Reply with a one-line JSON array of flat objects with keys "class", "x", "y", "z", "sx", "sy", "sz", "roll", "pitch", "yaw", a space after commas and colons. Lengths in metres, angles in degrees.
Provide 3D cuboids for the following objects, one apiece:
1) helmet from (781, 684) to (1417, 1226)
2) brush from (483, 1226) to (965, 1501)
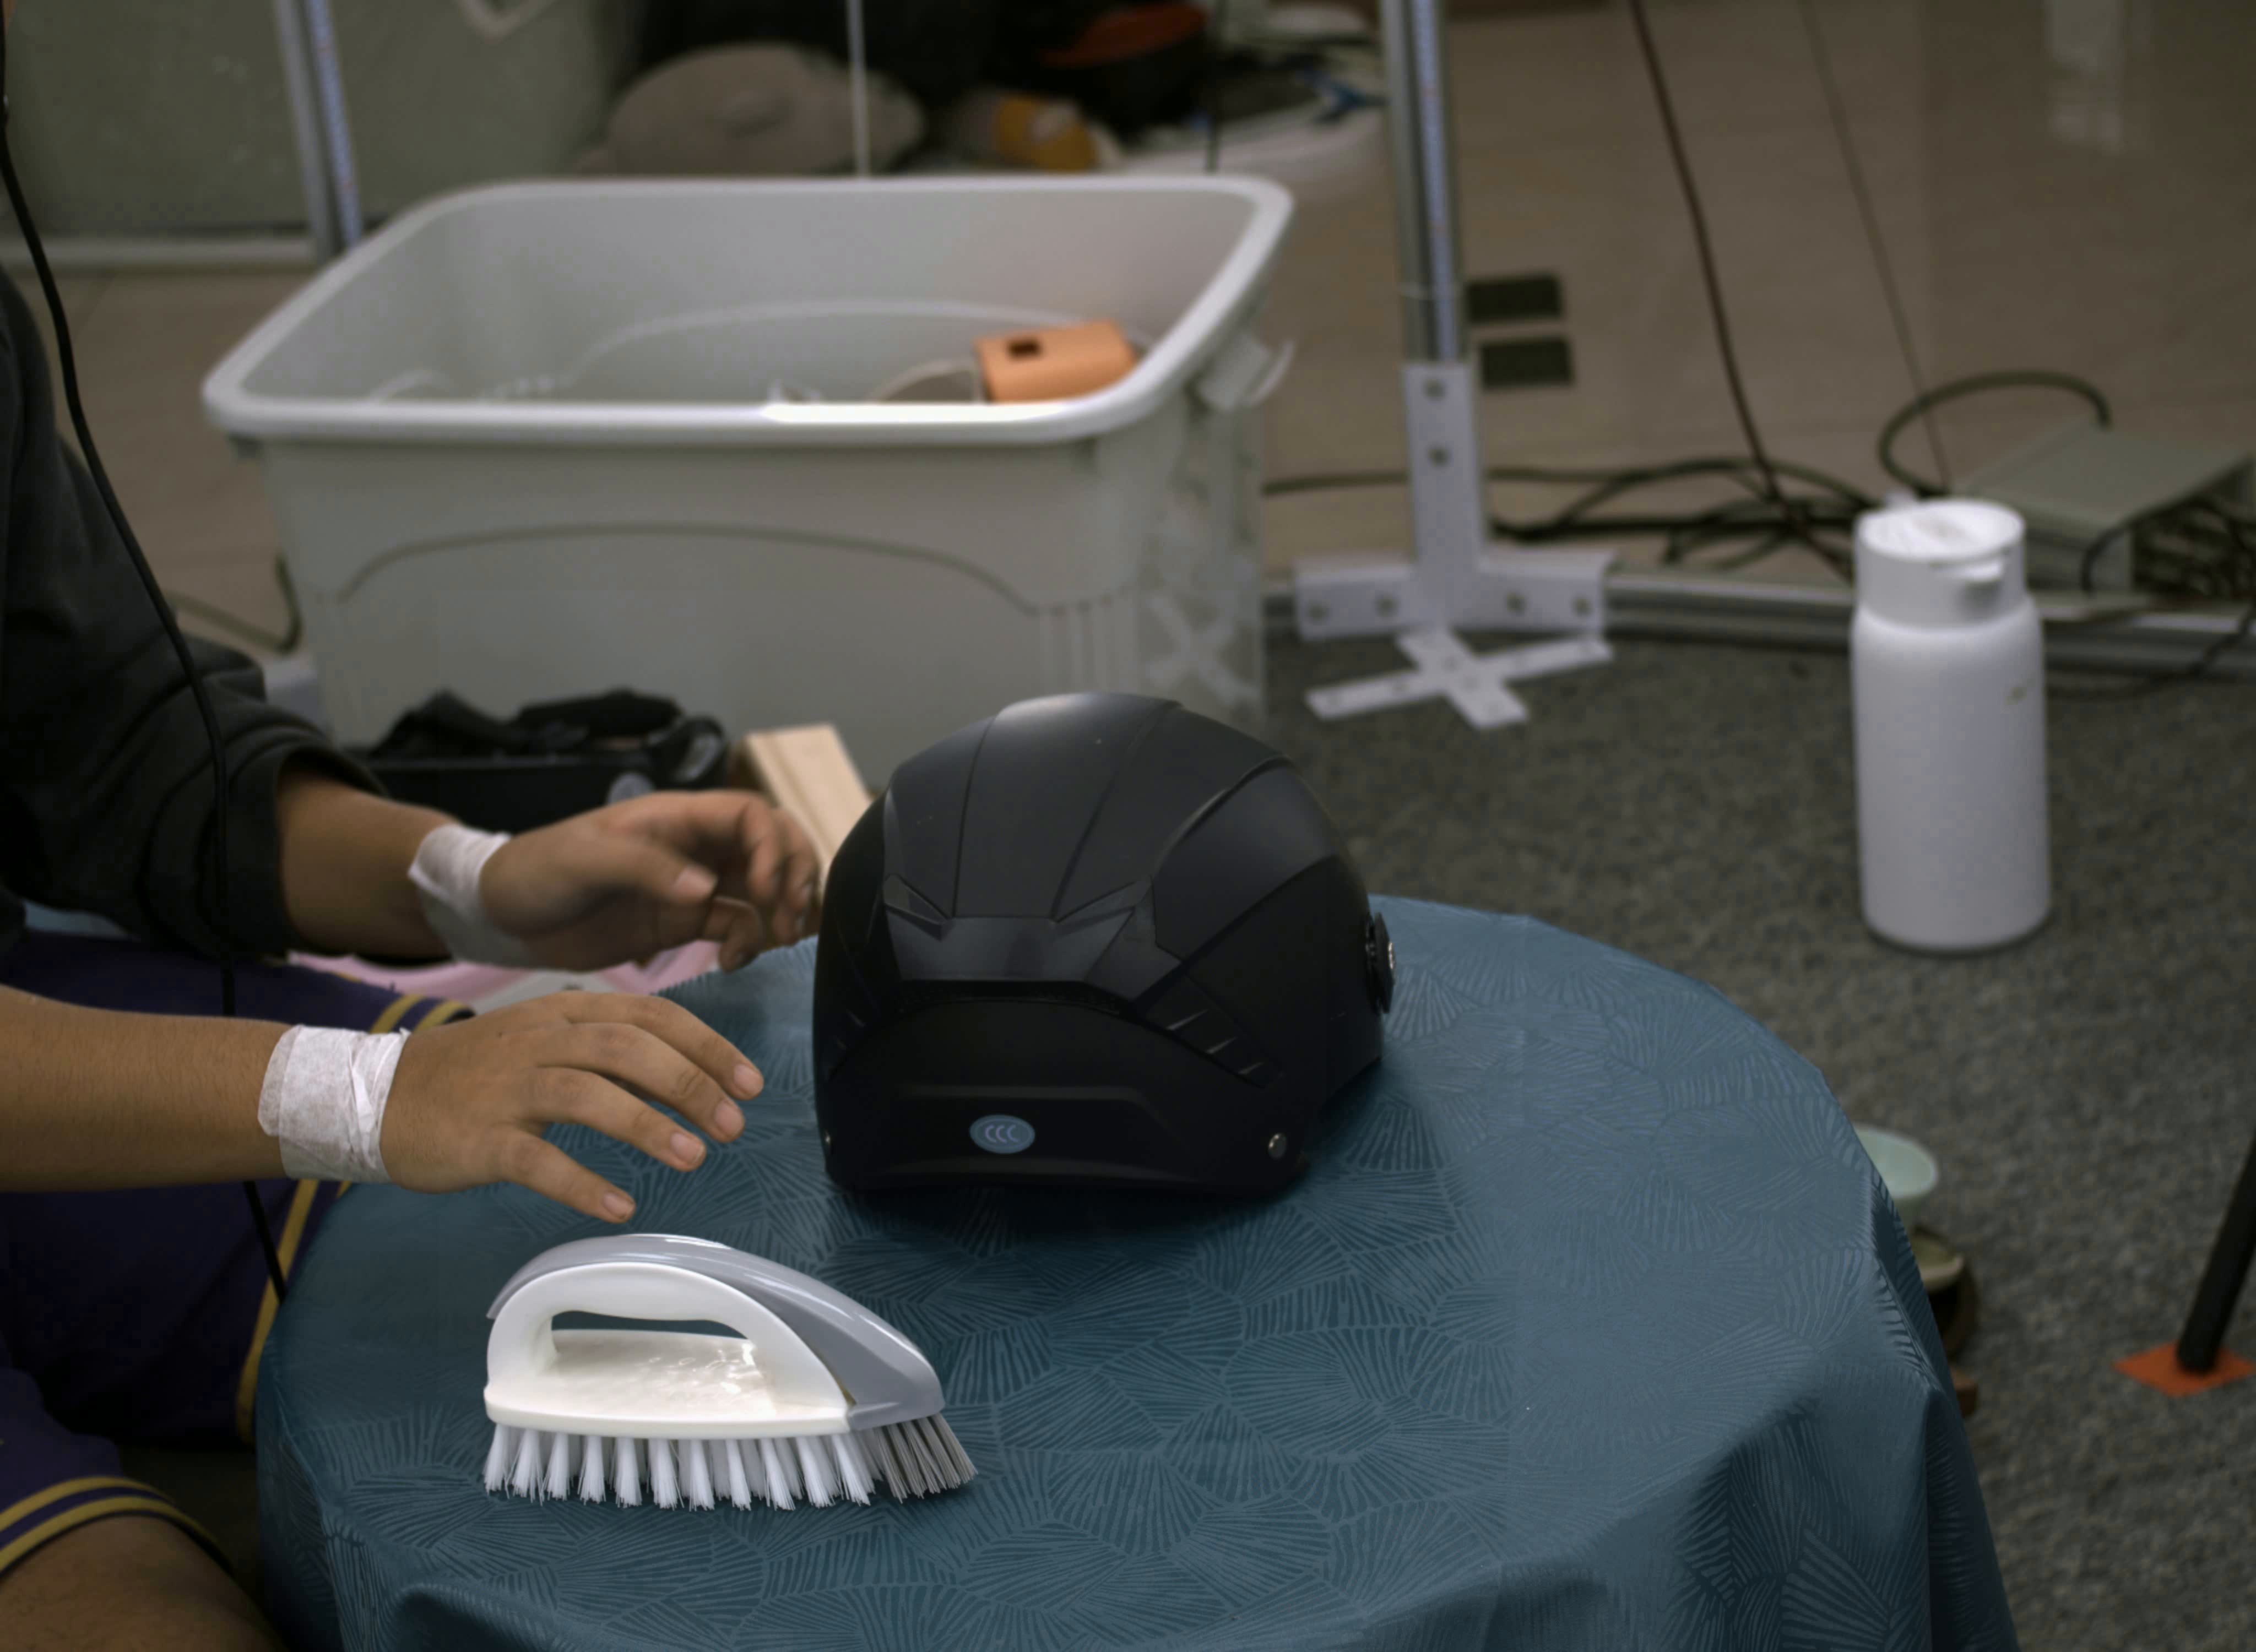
[{"class": "helmet", "x": -0.014, "y": 0.034, "z": 2.186, "sx": 0.246, "sy": 0.175, "sz": 0.272, "roll": 2, "pitch": 31, "yaw": 15}, {"class": "brush", "x": -0.143, "y": 0.184, "z": 1.976, "sx": 0.175, "sy": 0.096, "sz": 0.060, "roll": 5, "pitch": 29, "yaw": 18}]
